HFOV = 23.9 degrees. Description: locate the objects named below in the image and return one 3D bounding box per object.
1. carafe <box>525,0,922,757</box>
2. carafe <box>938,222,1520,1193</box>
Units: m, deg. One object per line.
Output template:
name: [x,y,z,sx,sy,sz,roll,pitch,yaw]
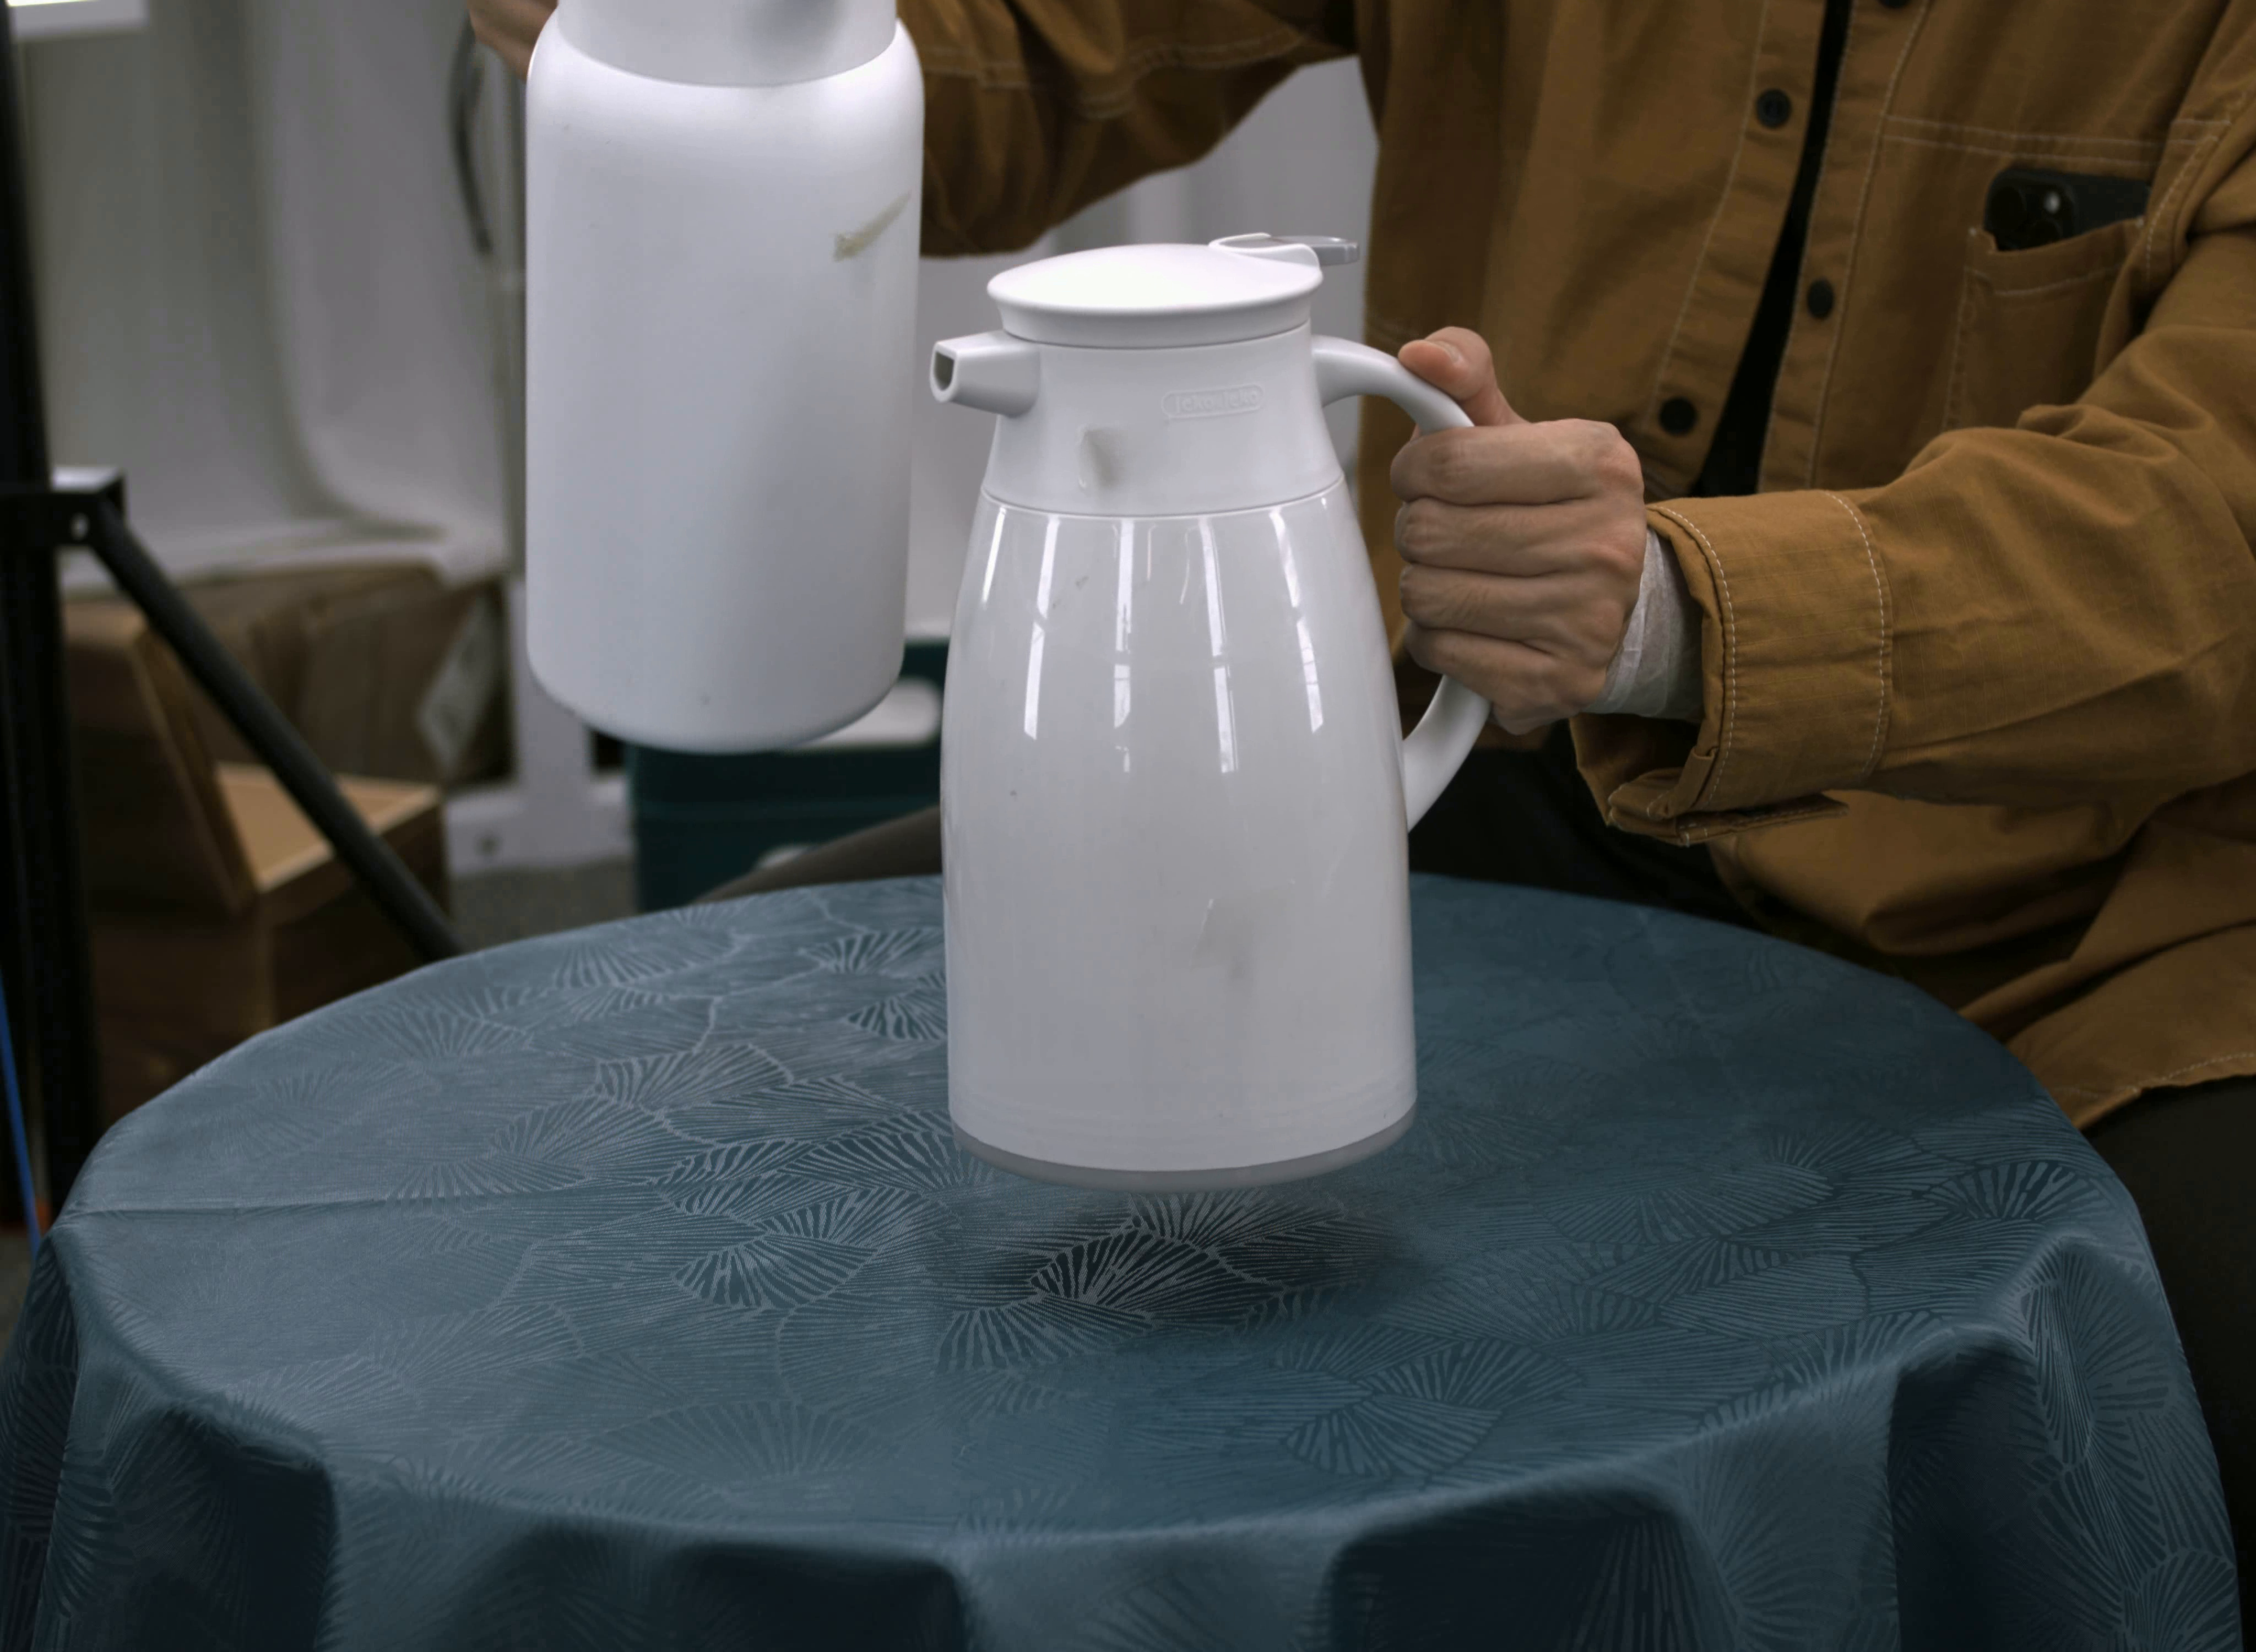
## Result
carafe: [-0.131,-0.169,1.613,0.121,0.268,0.176,-12,32,-22]
carafe: [0.029,-0.040,1.469,0.164,0.249,0.135,-6,15,-20]
